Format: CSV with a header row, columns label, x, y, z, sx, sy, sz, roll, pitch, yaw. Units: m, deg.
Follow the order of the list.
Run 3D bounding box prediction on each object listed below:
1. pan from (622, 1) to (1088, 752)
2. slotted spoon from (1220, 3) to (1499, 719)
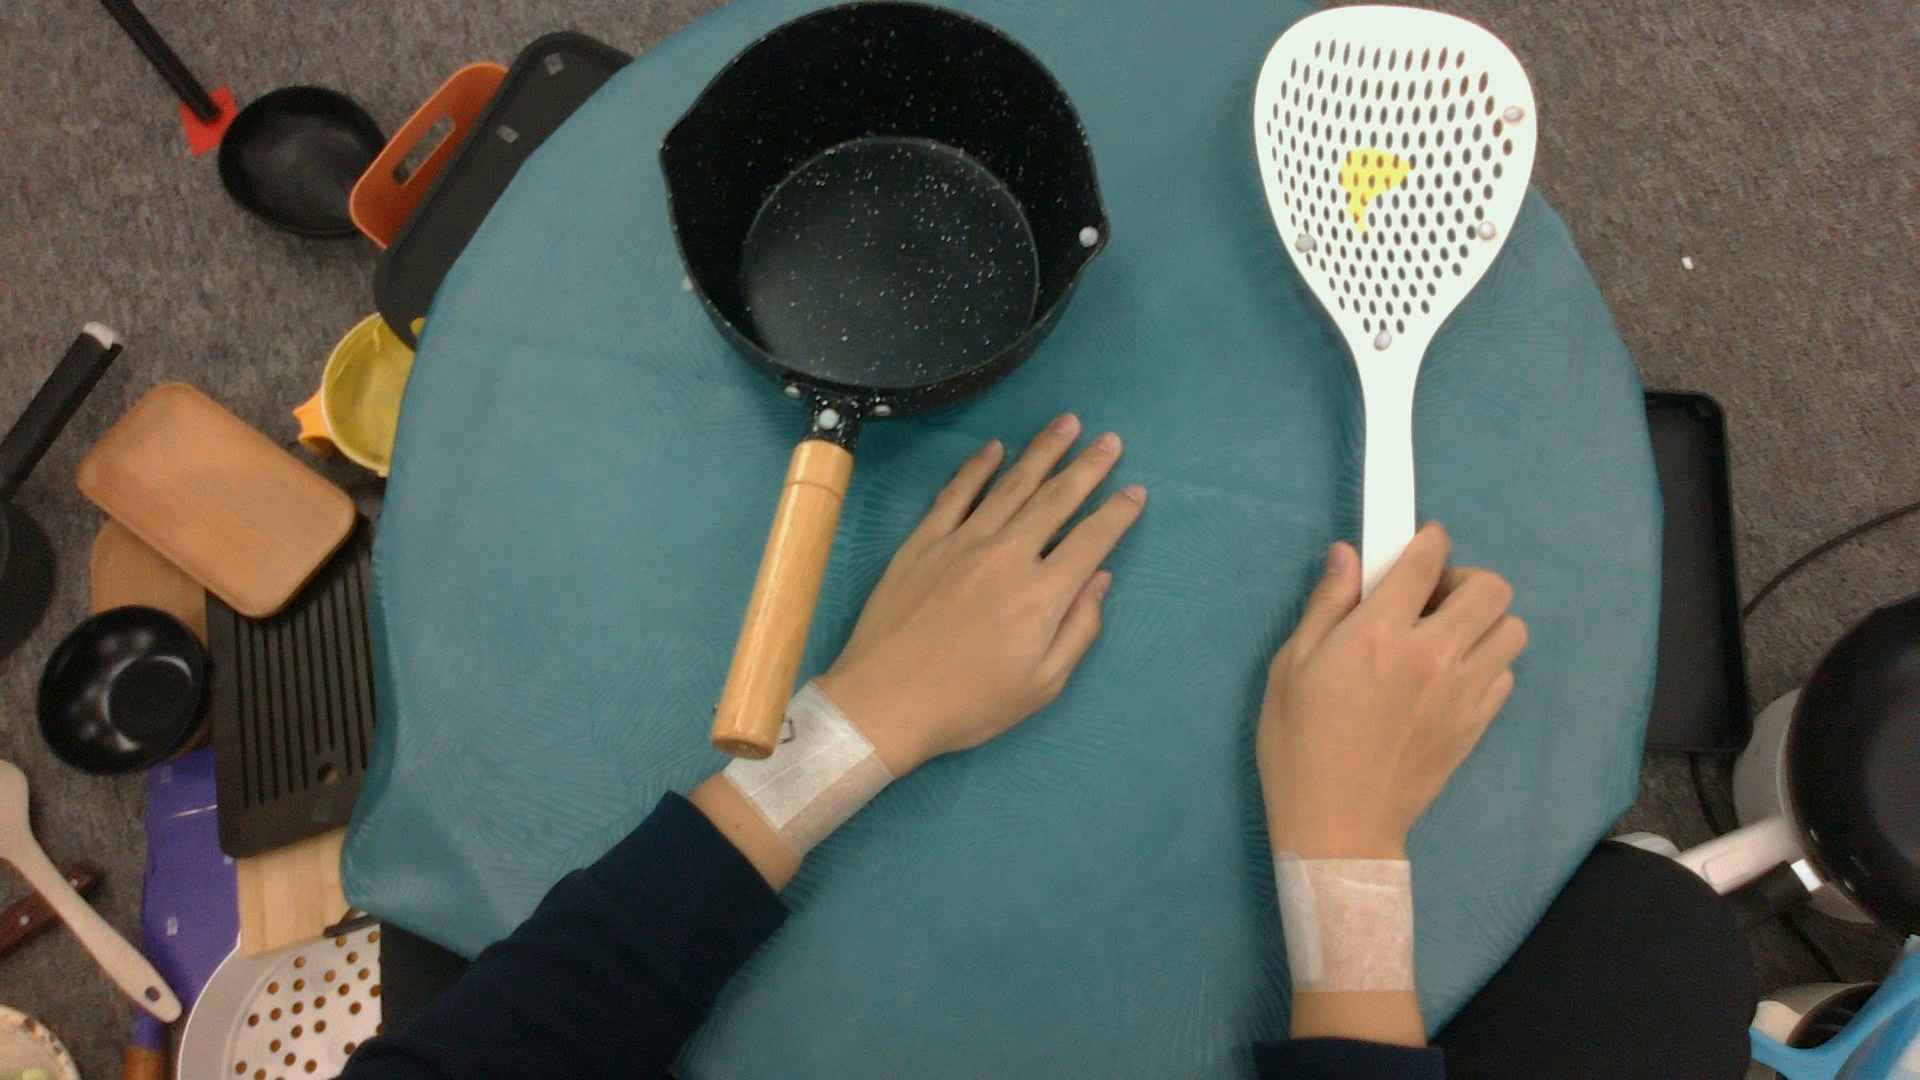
label,x,y,z,sx,sy,sz,roll,pitch,yaw
pan,-0.058,-0.070,0.604,0.207,0.108,0.344,9,73,0
slotted spoon,0.189,-0.092,0.650,0.137,0.050,0.349,2,73,-3
